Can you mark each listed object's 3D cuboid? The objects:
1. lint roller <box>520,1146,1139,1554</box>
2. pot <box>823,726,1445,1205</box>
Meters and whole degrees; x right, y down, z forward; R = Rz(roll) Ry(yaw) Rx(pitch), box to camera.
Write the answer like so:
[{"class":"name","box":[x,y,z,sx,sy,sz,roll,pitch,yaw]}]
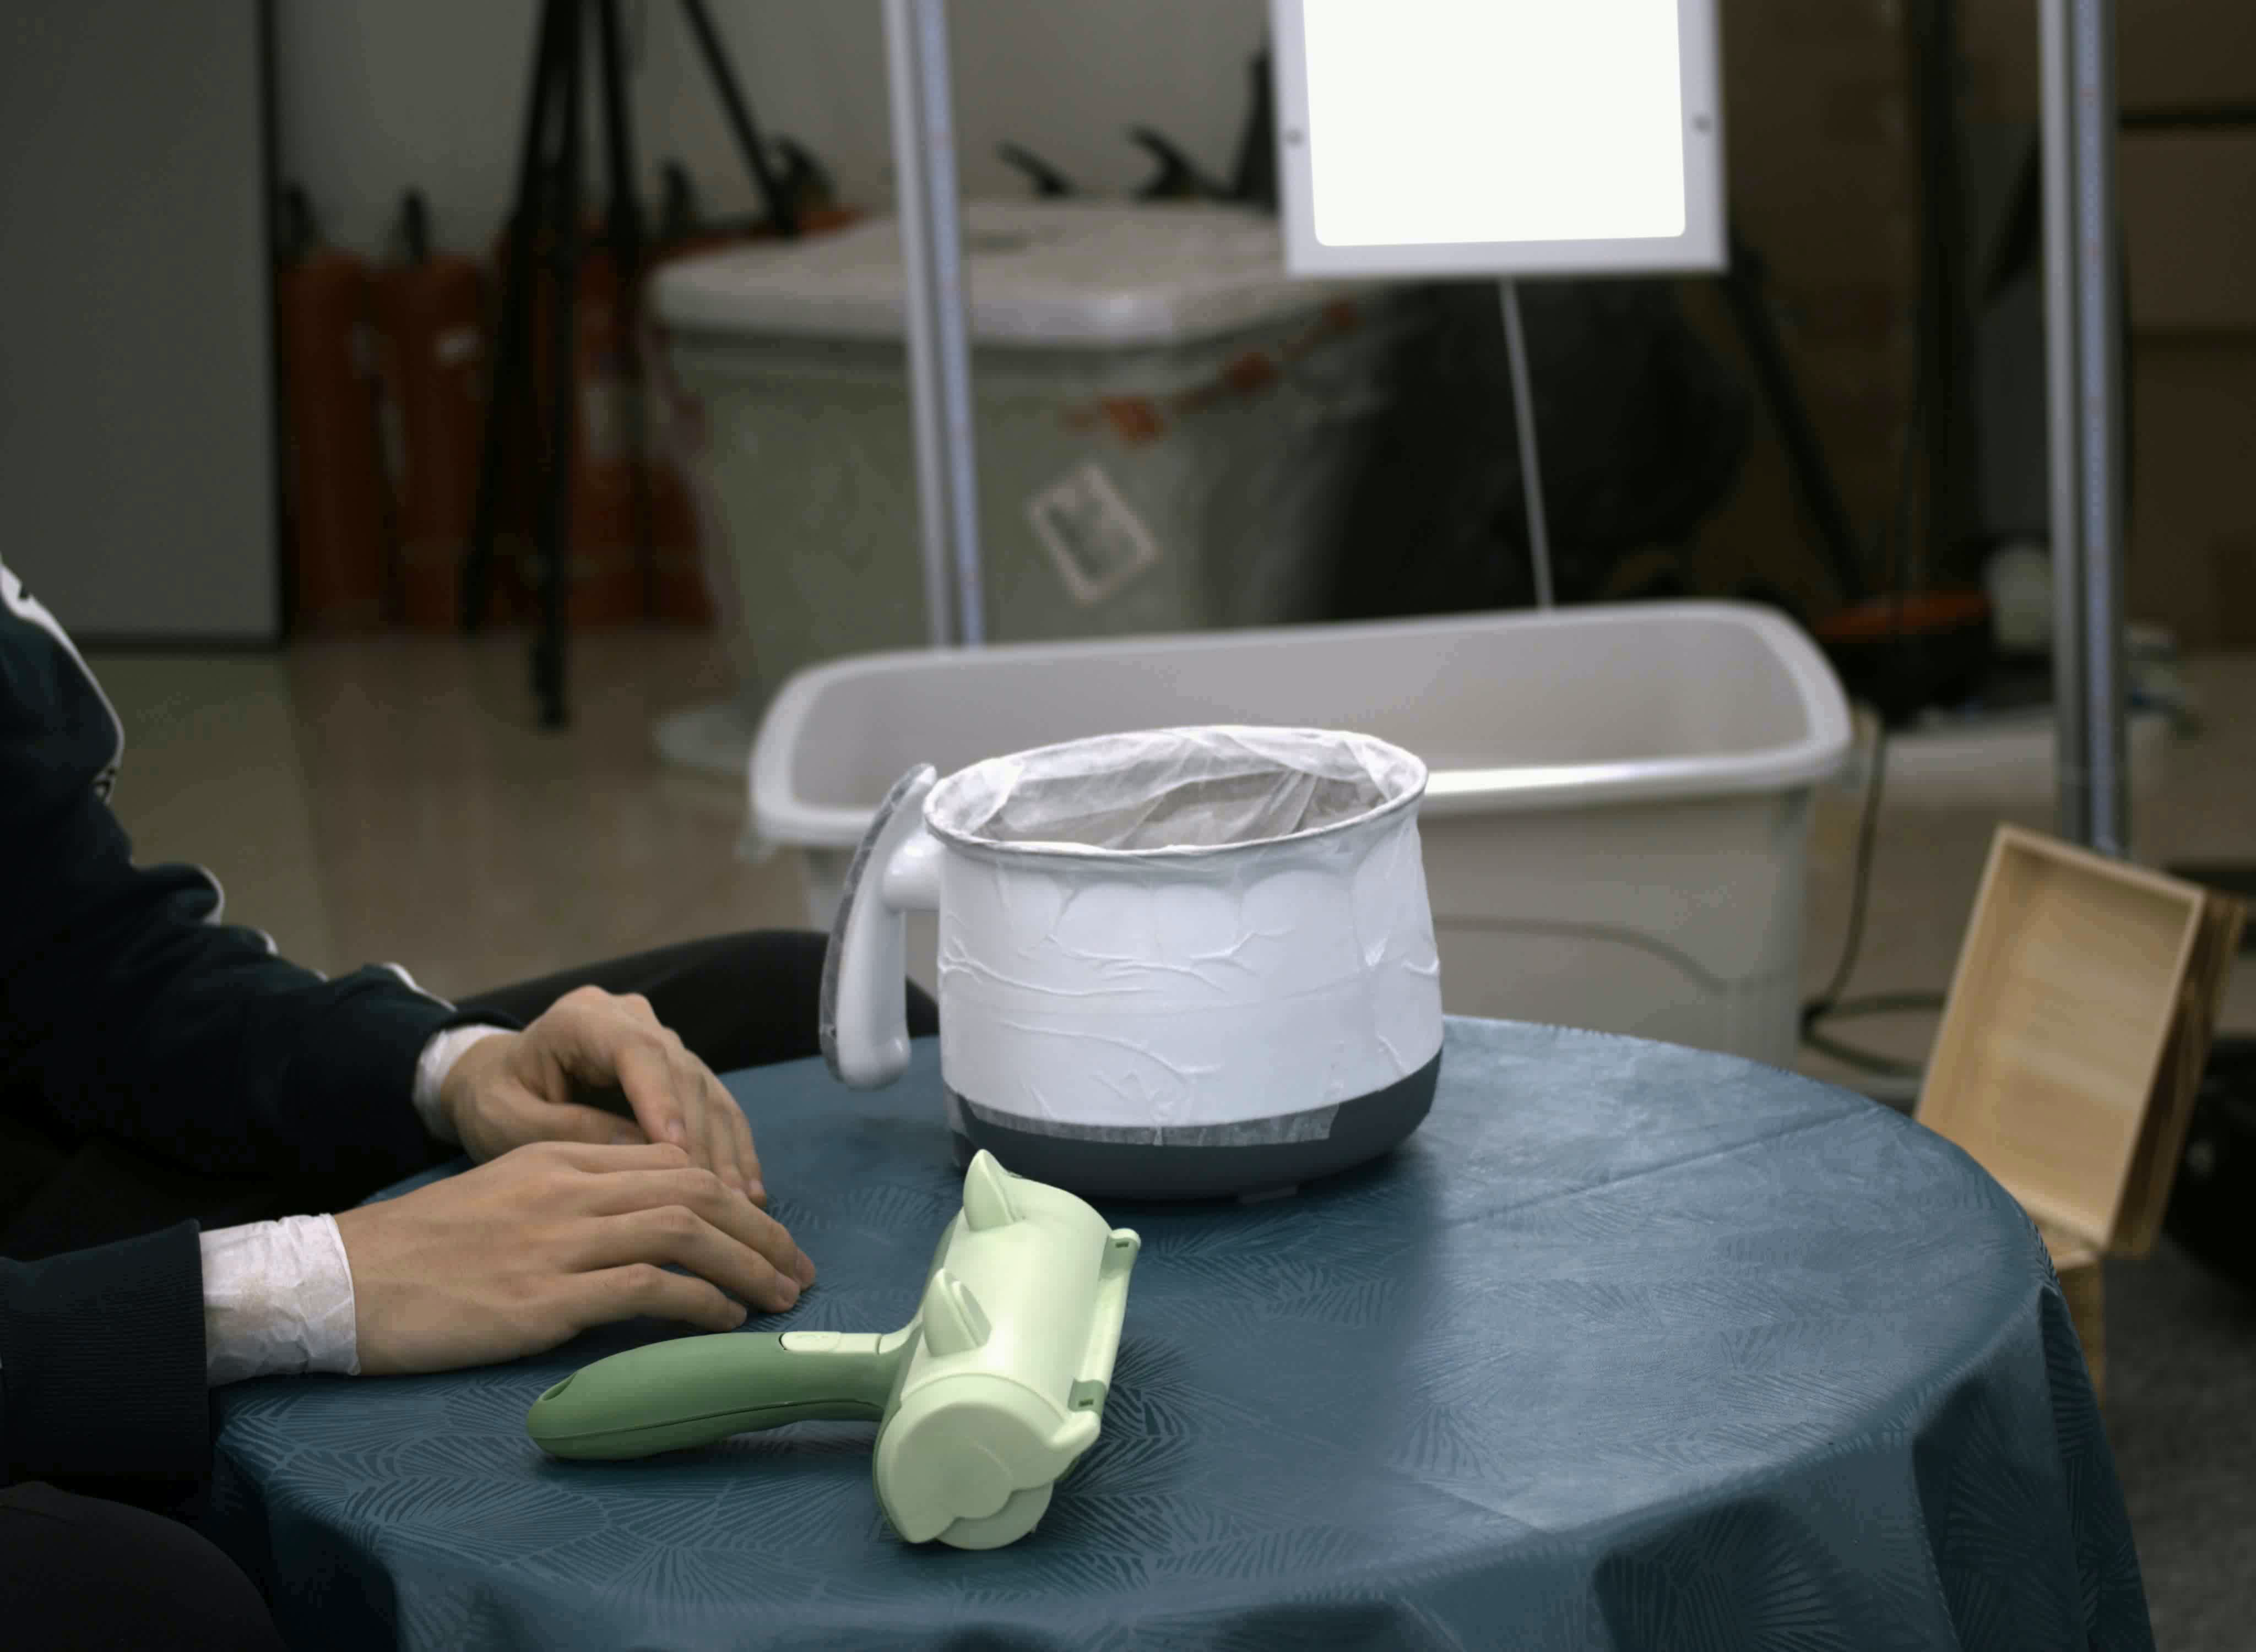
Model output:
[{"class":"lint roller","box":[-0.094,0.152,1.667,0.184,0.082,0.197,1,15,5]},{"class":"pot","box":[-0.003,0.046,1.932,0.237,0.137,0.175,3,15,26]}]
